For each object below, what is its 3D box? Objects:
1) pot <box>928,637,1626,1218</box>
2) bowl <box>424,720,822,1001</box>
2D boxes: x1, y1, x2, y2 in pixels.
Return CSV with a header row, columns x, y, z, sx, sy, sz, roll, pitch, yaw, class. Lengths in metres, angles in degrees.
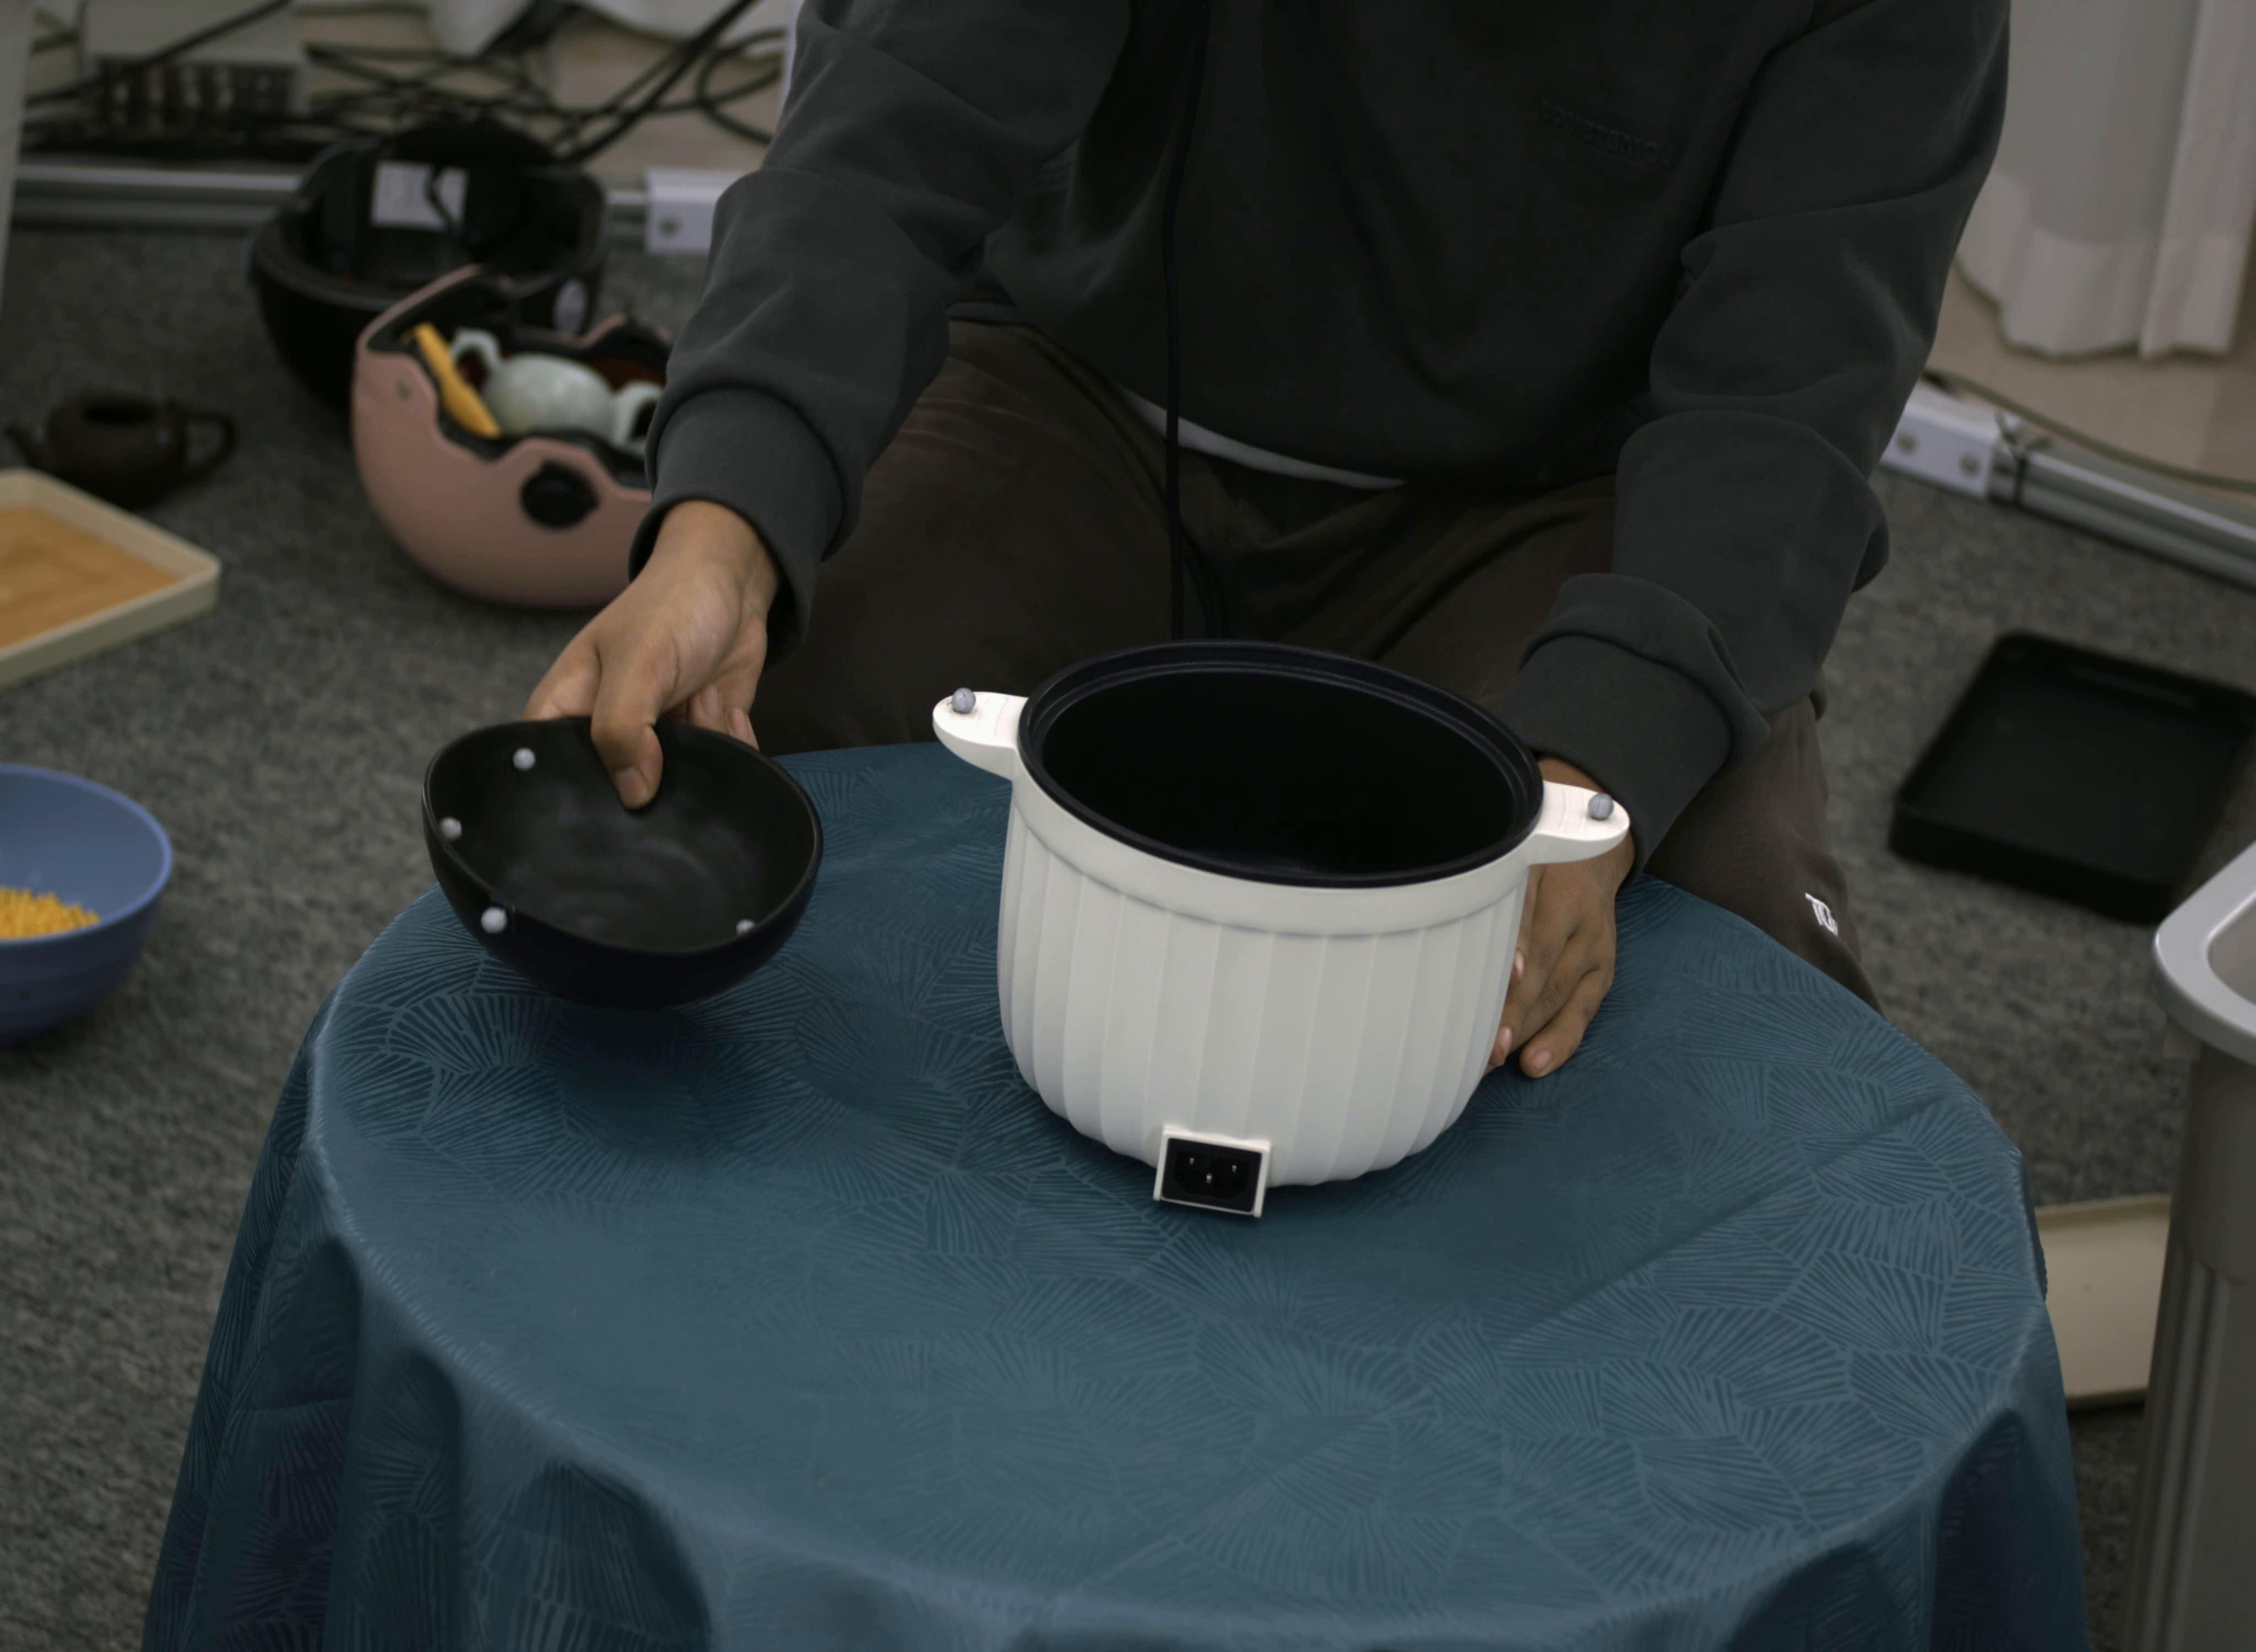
x,y,z,sx,sy,sz,roll,pitch,yaw,class
0.043,0.032,1.846,0.240,0.142,0.191,10,30,3,pot
-0.179,0.018,1.859,0.136,0.066,0.172,-3,30,-17,bowl
